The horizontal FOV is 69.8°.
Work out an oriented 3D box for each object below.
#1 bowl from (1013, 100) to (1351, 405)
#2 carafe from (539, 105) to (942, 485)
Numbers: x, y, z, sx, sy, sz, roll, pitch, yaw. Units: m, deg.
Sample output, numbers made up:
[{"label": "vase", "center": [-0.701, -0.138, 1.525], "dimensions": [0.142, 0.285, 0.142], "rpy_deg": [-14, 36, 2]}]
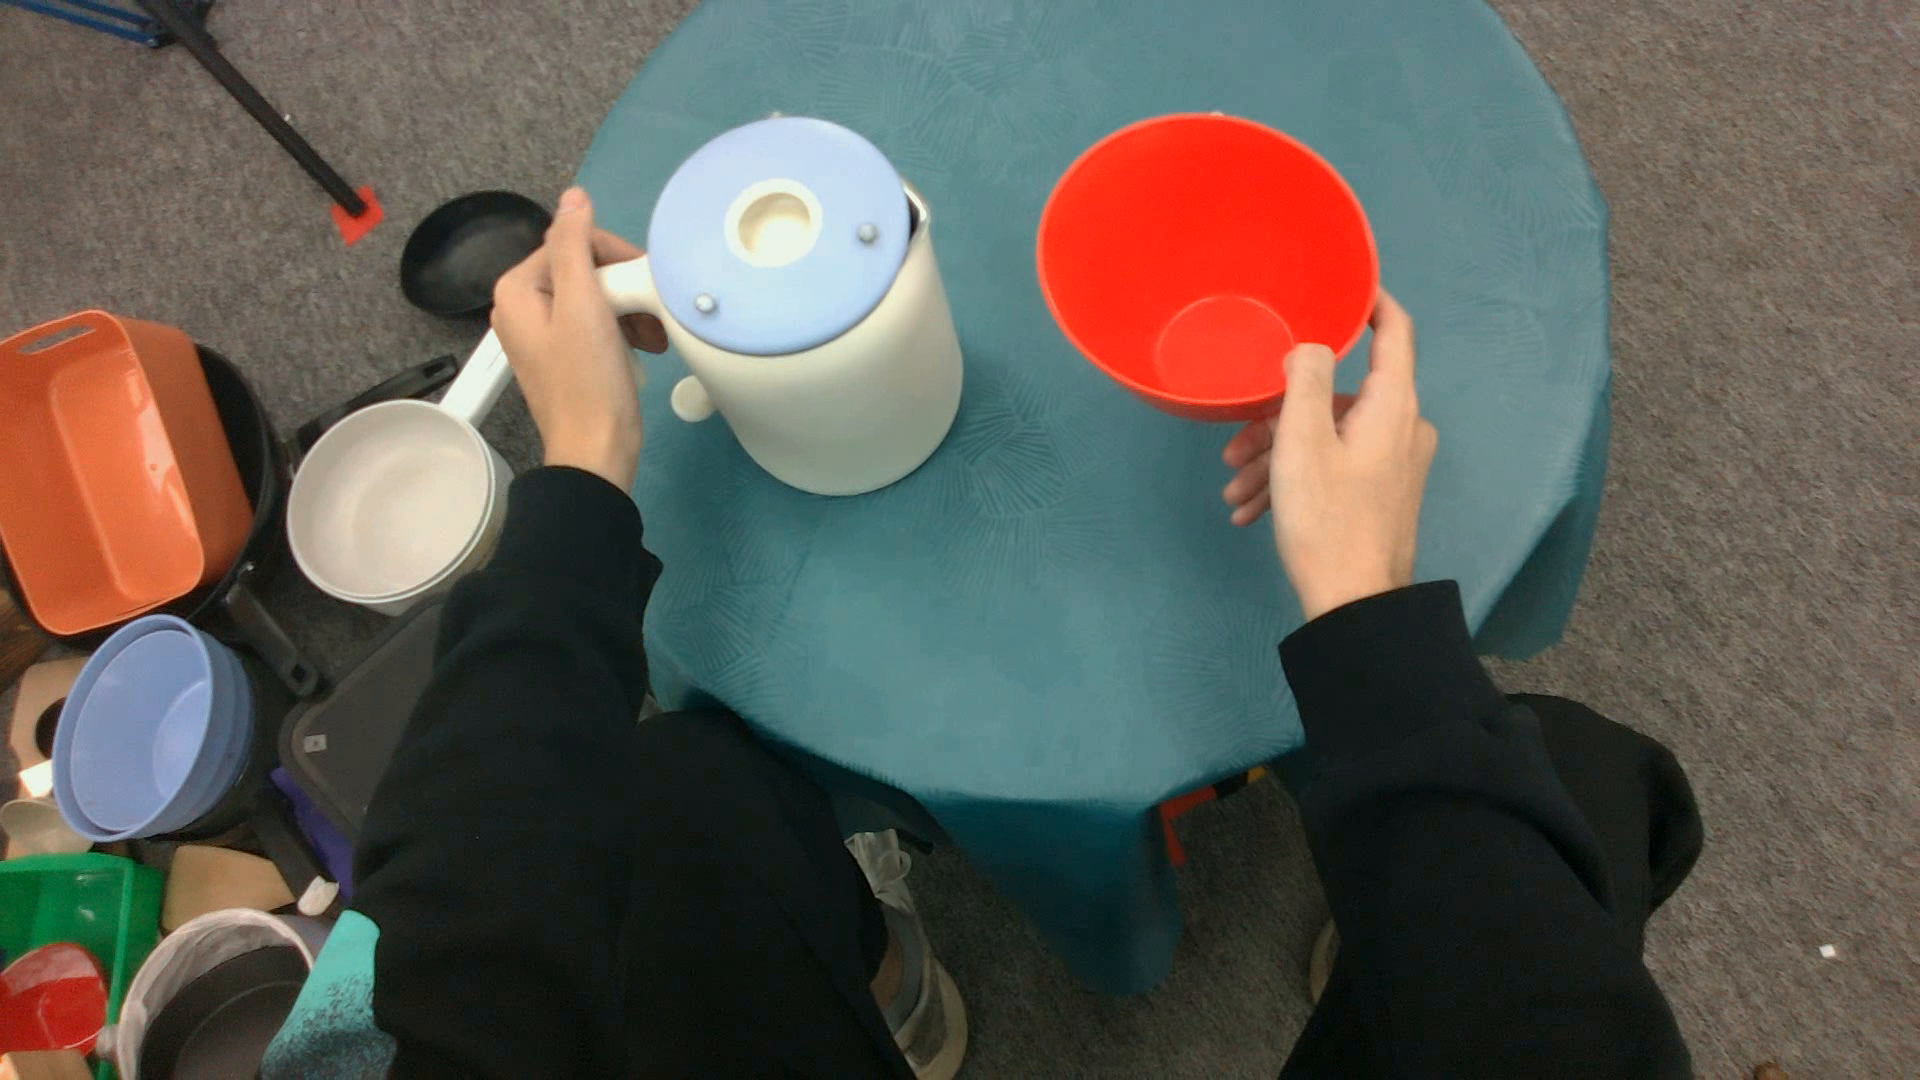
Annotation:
[{"label": "bowl", "center": [0.104, -0.119, 0.645], "dimensions": [0.148, 0.104, 0.148], "rpy_deg": [-3, 67, 8]}, {"label": "carafe", "center": [-0.107, -0.111, 0.687], "dimensions": [0.191, 0.182, 0.132], "rpy_deg": [-11, 70, 5]}]
